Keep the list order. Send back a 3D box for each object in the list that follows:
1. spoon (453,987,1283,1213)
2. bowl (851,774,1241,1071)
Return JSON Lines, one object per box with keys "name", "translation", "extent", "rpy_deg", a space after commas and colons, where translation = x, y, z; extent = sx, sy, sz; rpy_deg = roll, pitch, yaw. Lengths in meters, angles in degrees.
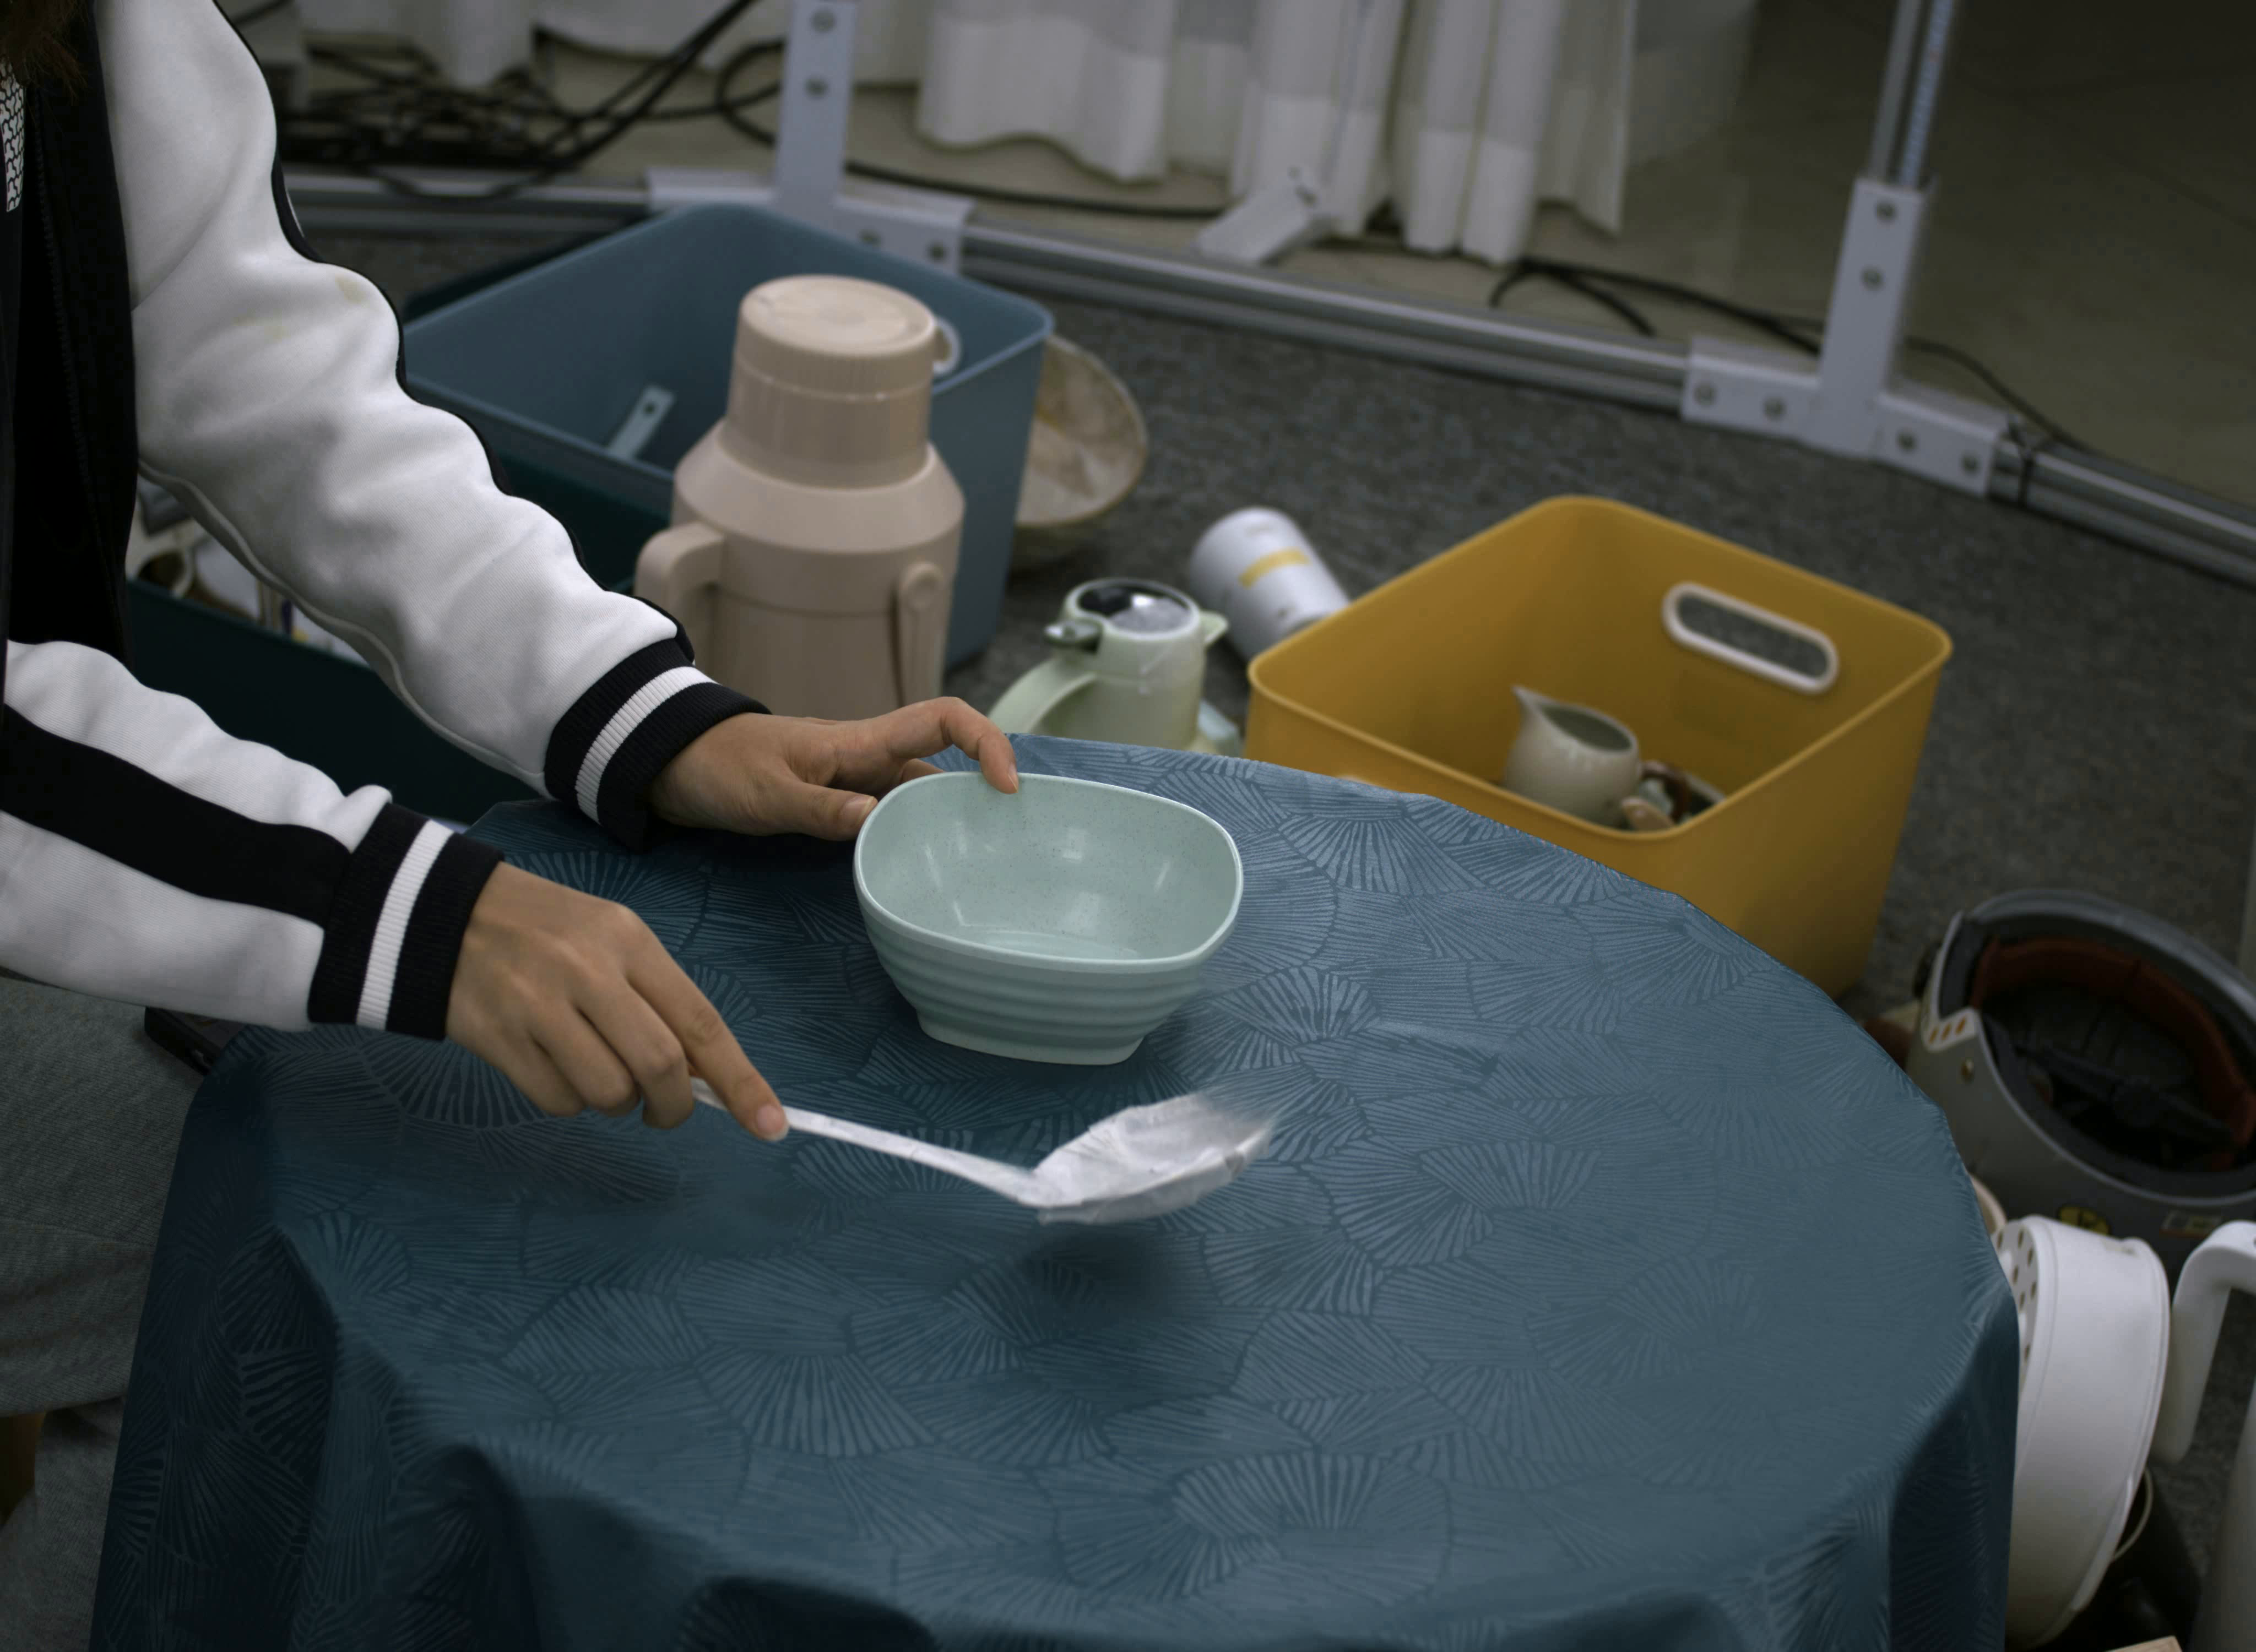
{"name": "spoon", "translation": [-0.087, 0.073, 1.752], "extent": [0.277, 0.059, 0.100], "rpy_deg": [17, 13, 9]}
{"name": "bowl", "translation": [-0.032, 0.040, 1.901], "extent": [0.151, 0.058, 0.152], "rpy_deg": [5, 27, -3]}
